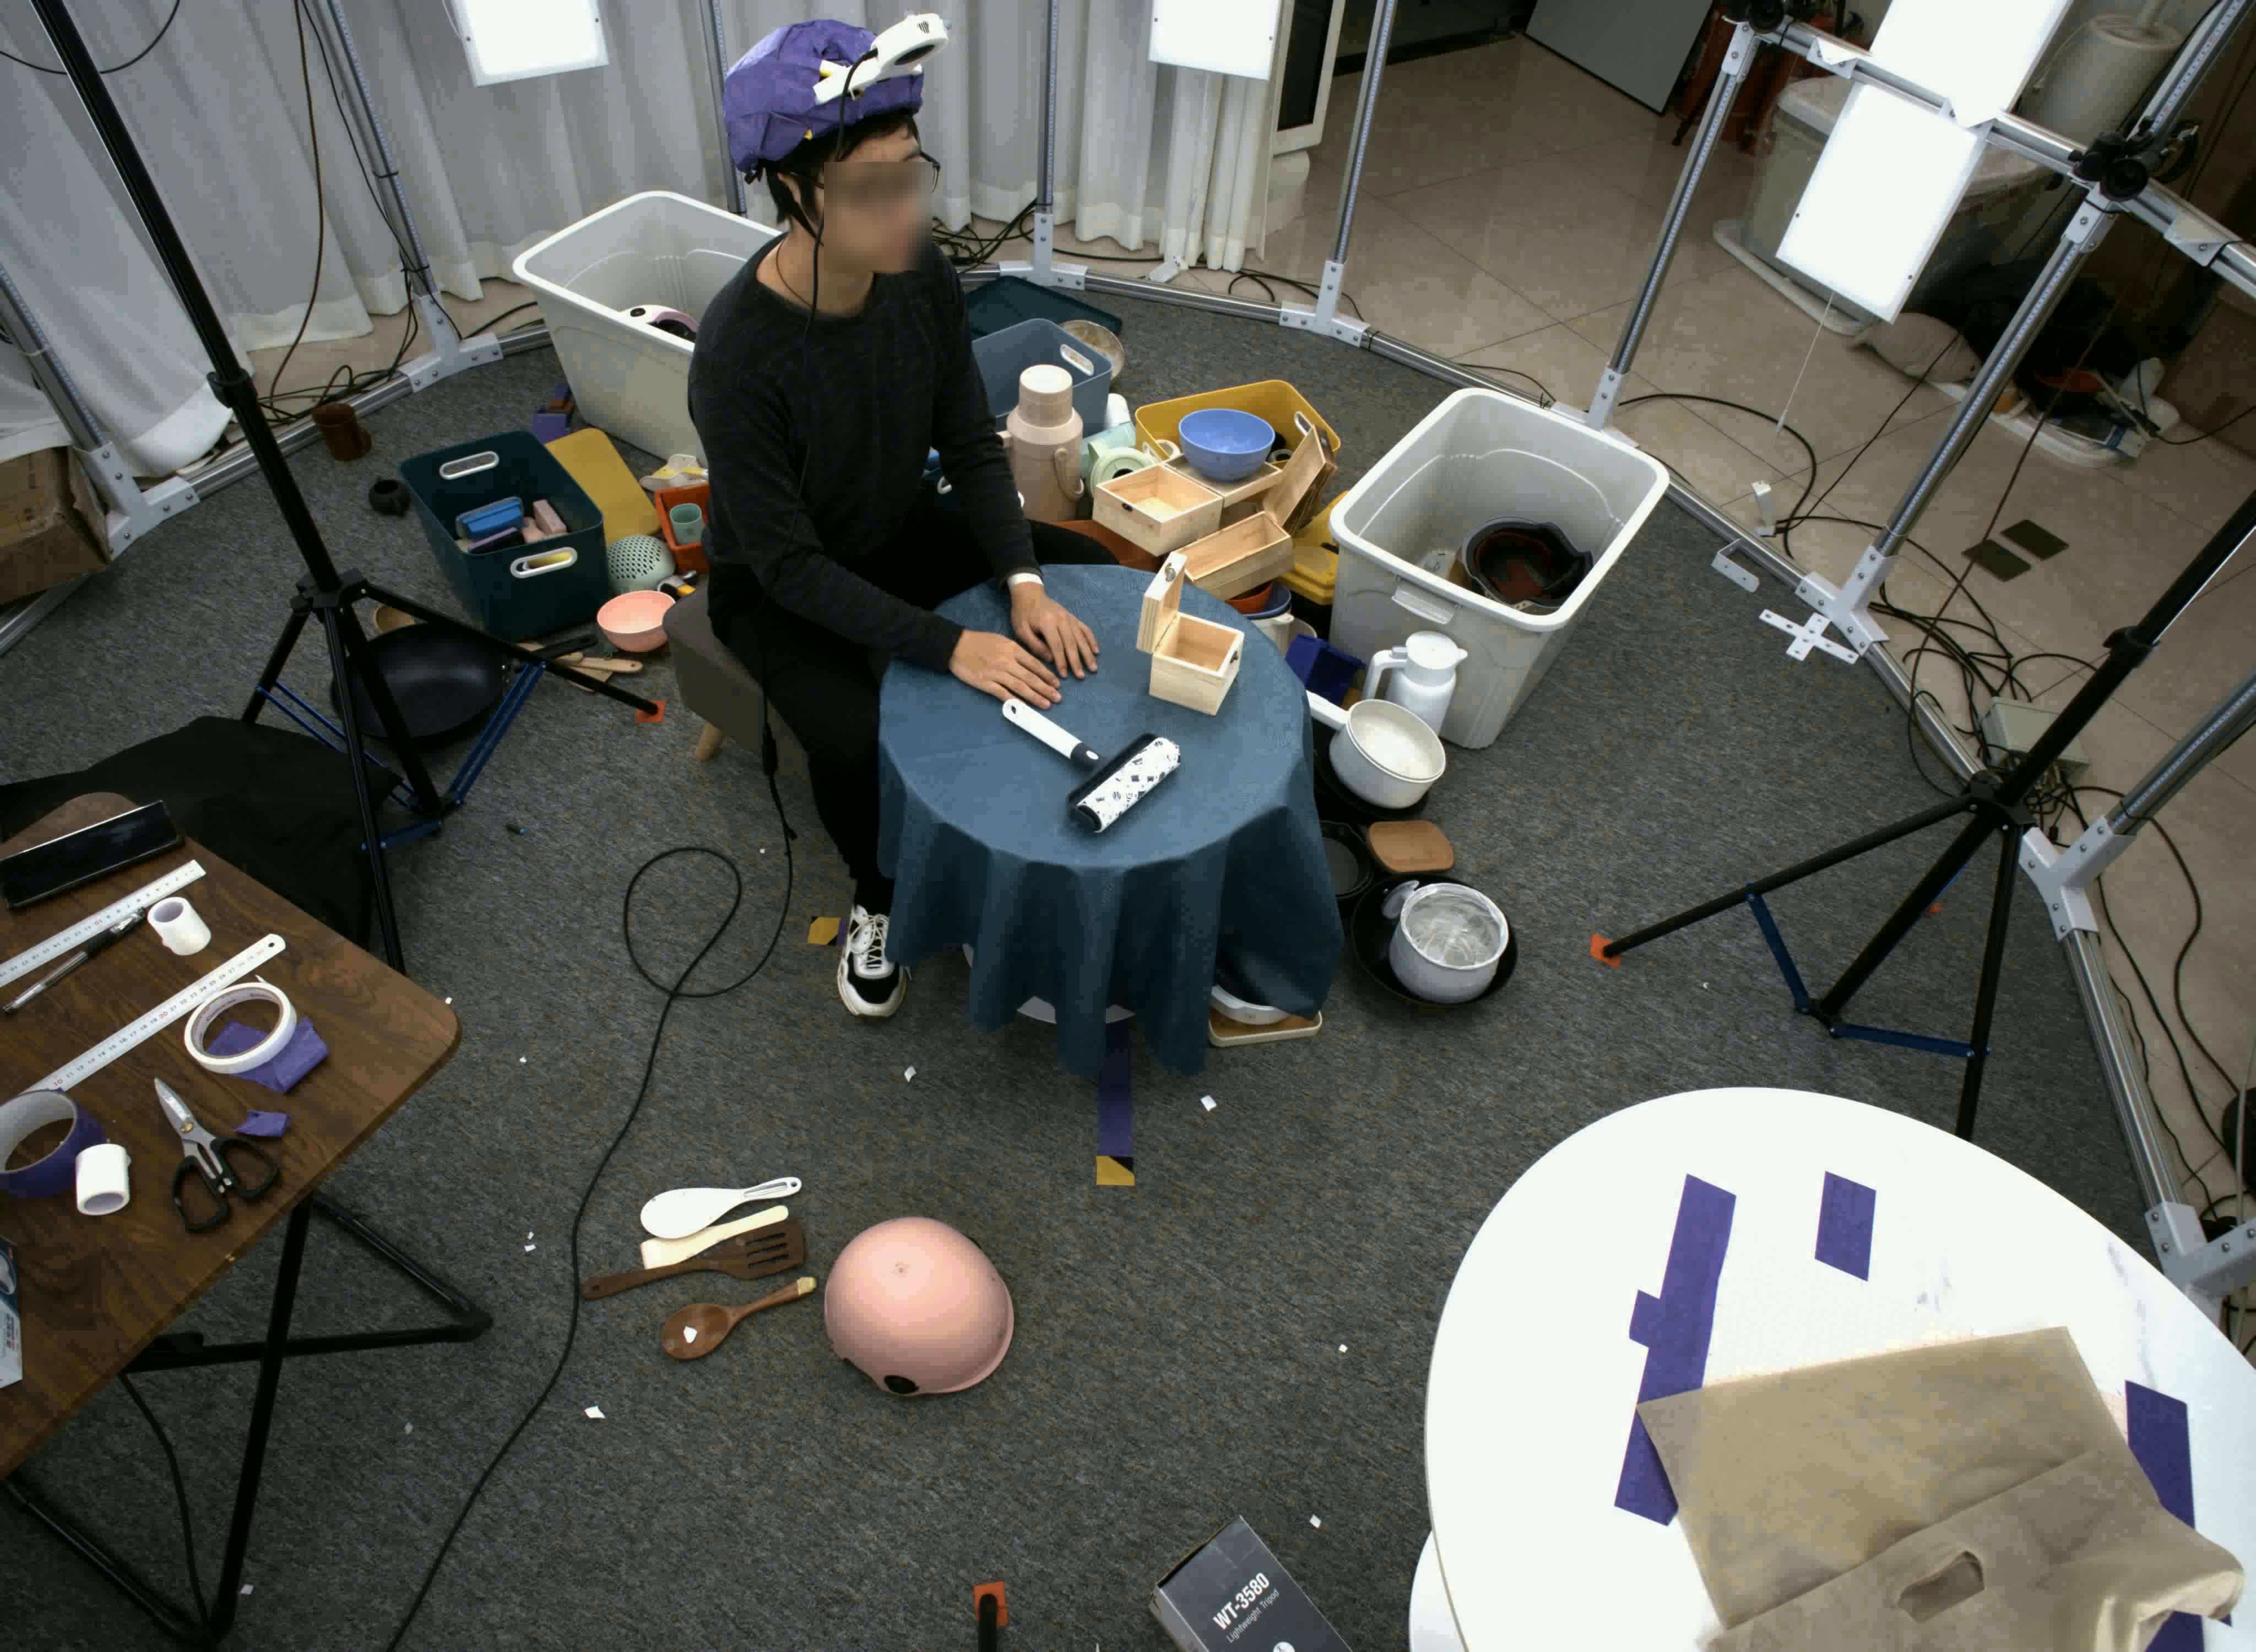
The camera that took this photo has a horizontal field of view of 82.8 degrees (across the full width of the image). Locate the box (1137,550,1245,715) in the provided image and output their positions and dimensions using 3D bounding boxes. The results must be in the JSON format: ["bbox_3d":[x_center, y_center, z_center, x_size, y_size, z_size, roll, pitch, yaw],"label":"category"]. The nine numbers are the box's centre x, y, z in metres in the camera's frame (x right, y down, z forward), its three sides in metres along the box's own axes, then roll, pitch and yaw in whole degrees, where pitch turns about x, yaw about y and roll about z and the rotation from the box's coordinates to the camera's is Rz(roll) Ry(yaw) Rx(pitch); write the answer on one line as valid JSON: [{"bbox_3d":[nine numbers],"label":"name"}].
[{"bbox_3d":[0.092,-0.268,1.790,0.134,0.180,0.104,19,51,13],"label":"box"}]

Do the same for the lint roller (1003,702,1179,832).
[{"bbox_3d":[-0.077,-0.106,1.730,0.250,0.049,0.178,34,56,24],"label":"lint roller"}]
